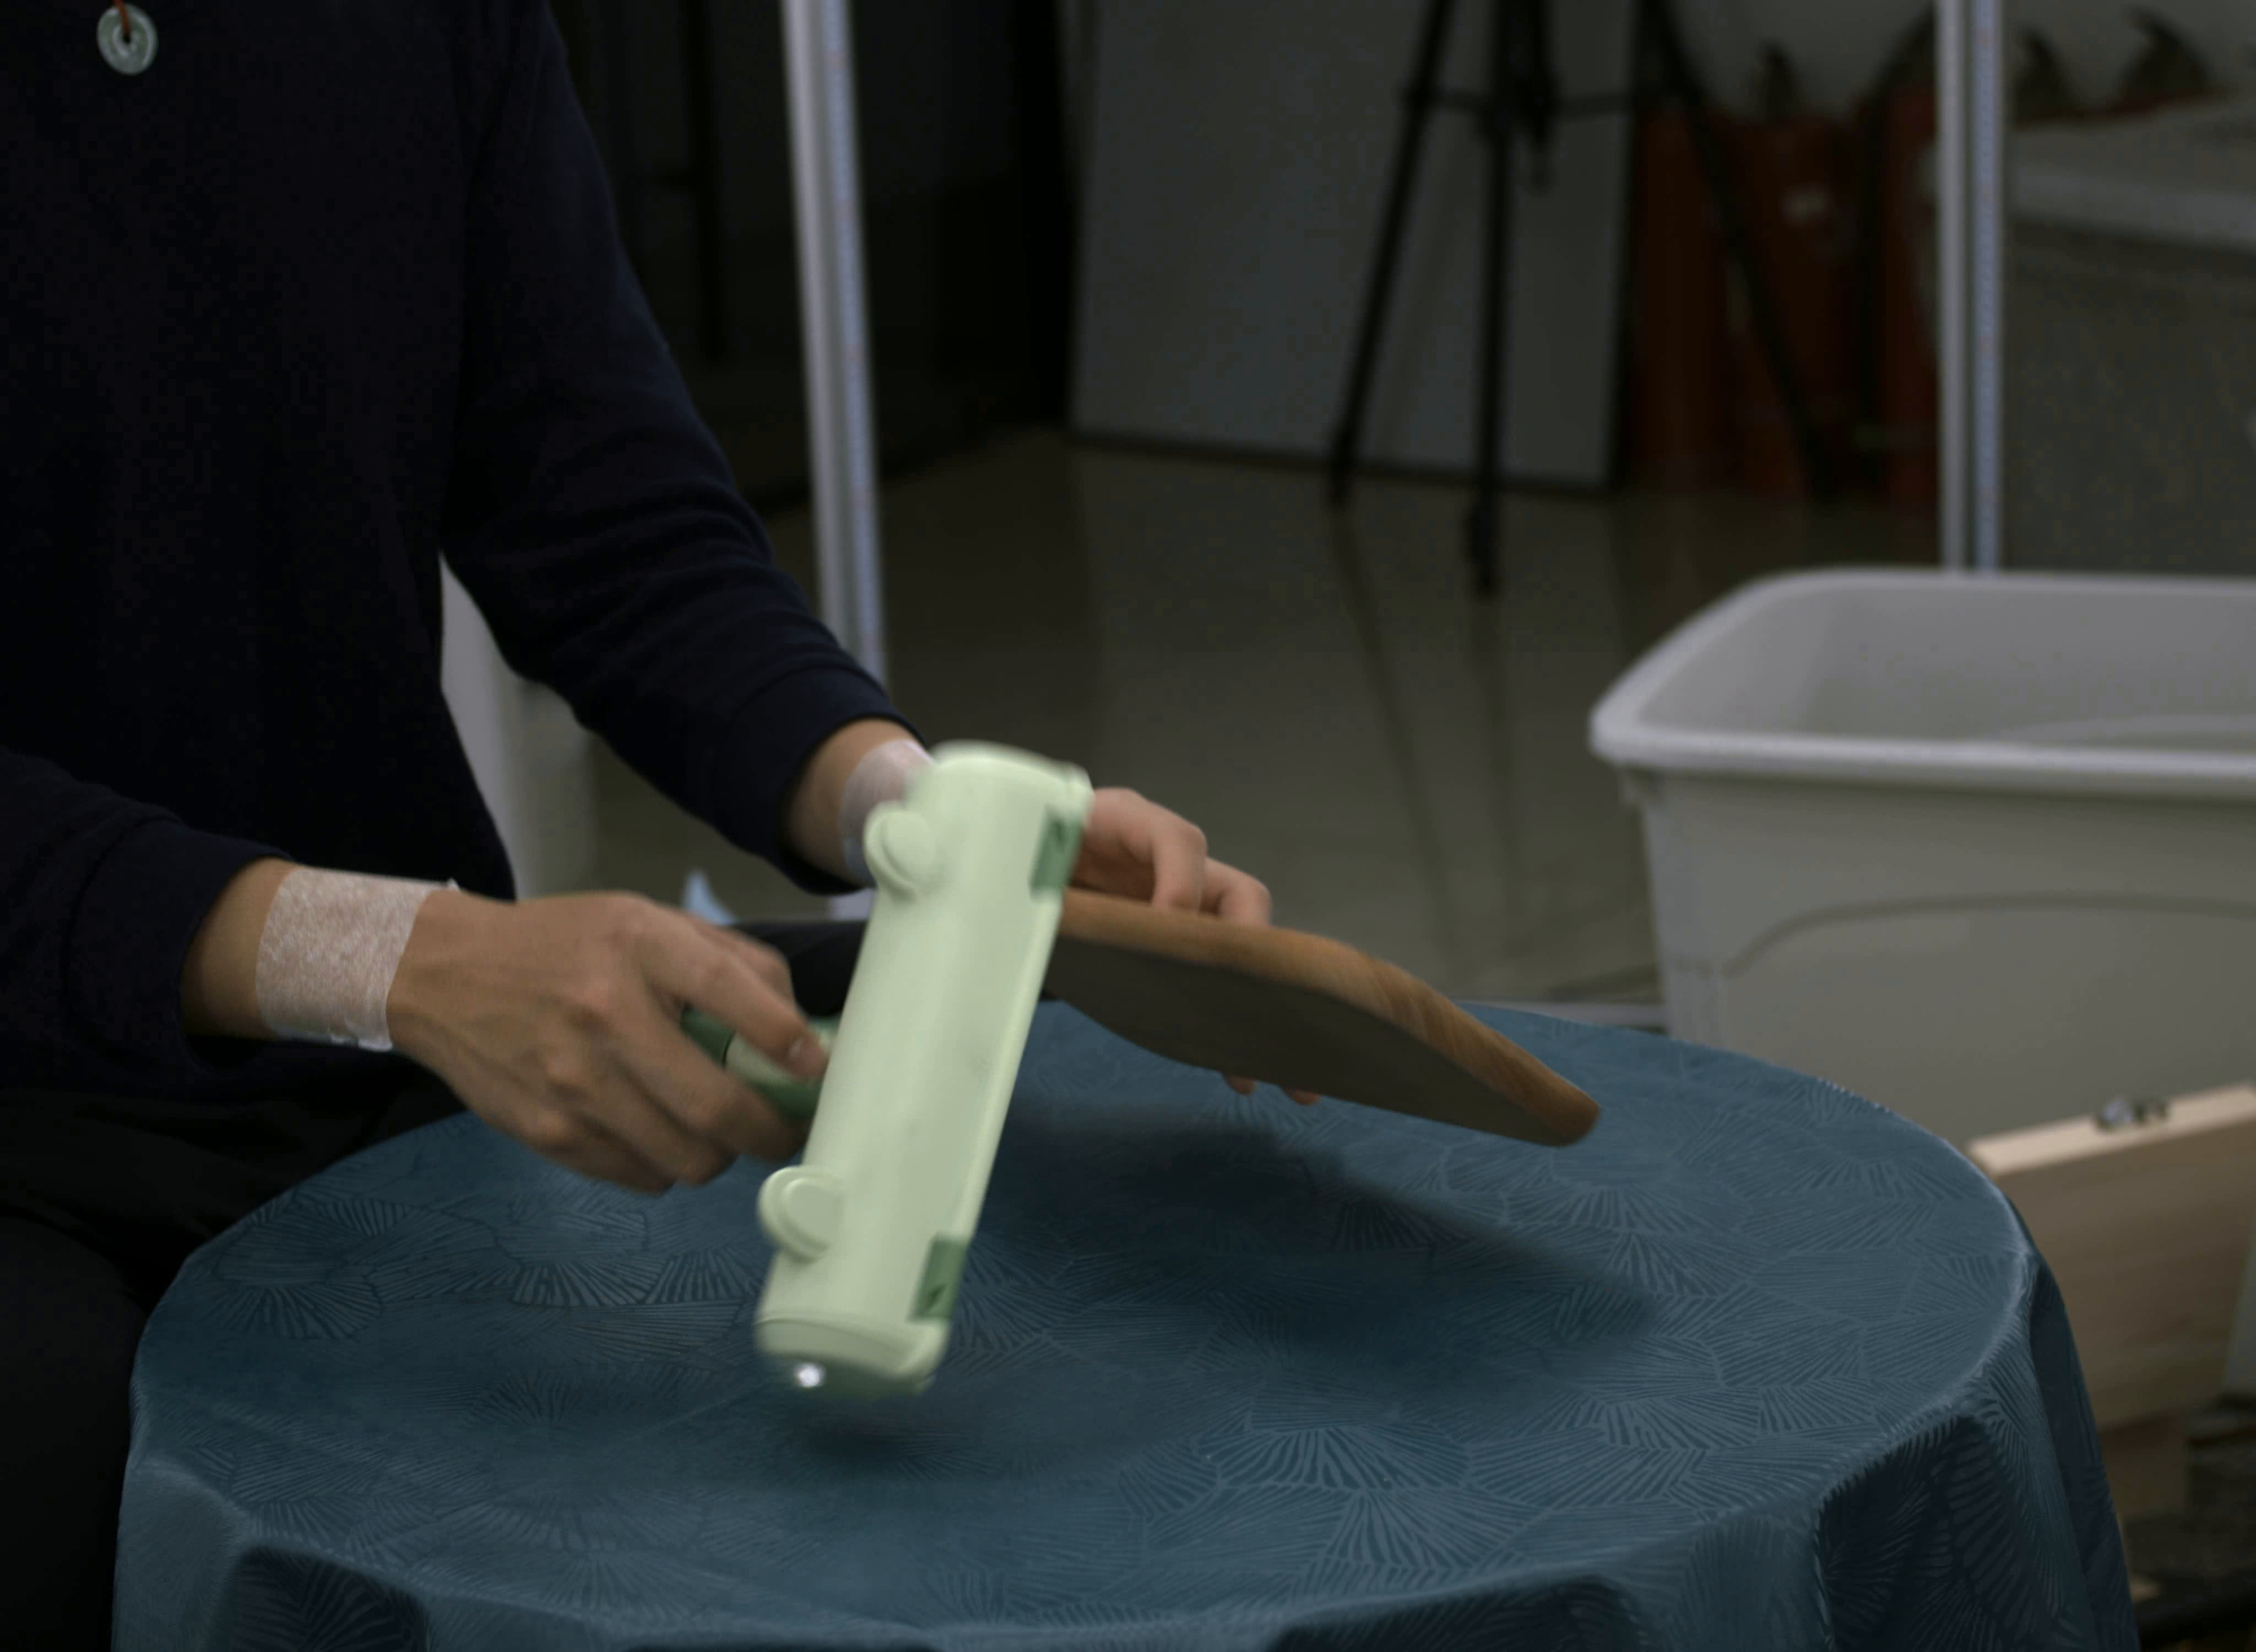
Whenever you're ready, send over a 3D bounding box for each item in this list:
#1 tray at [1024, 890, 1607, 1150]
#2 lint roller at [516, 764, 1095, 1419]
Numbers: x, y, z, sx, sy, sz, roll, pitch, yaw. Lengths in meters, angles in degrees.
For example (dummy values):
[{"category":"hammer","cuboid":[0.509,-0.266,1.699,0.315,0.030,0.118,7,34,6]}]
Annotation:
[{"category":"tray","cuboid":[0.040,0.059,1.723,0.128,0.023,0.253,36,-16,-32]},{"category":"lint roller","cuboid":[-0.115,0.068,1.600,0.184,0.200,0.081,5,-28,27]}]
